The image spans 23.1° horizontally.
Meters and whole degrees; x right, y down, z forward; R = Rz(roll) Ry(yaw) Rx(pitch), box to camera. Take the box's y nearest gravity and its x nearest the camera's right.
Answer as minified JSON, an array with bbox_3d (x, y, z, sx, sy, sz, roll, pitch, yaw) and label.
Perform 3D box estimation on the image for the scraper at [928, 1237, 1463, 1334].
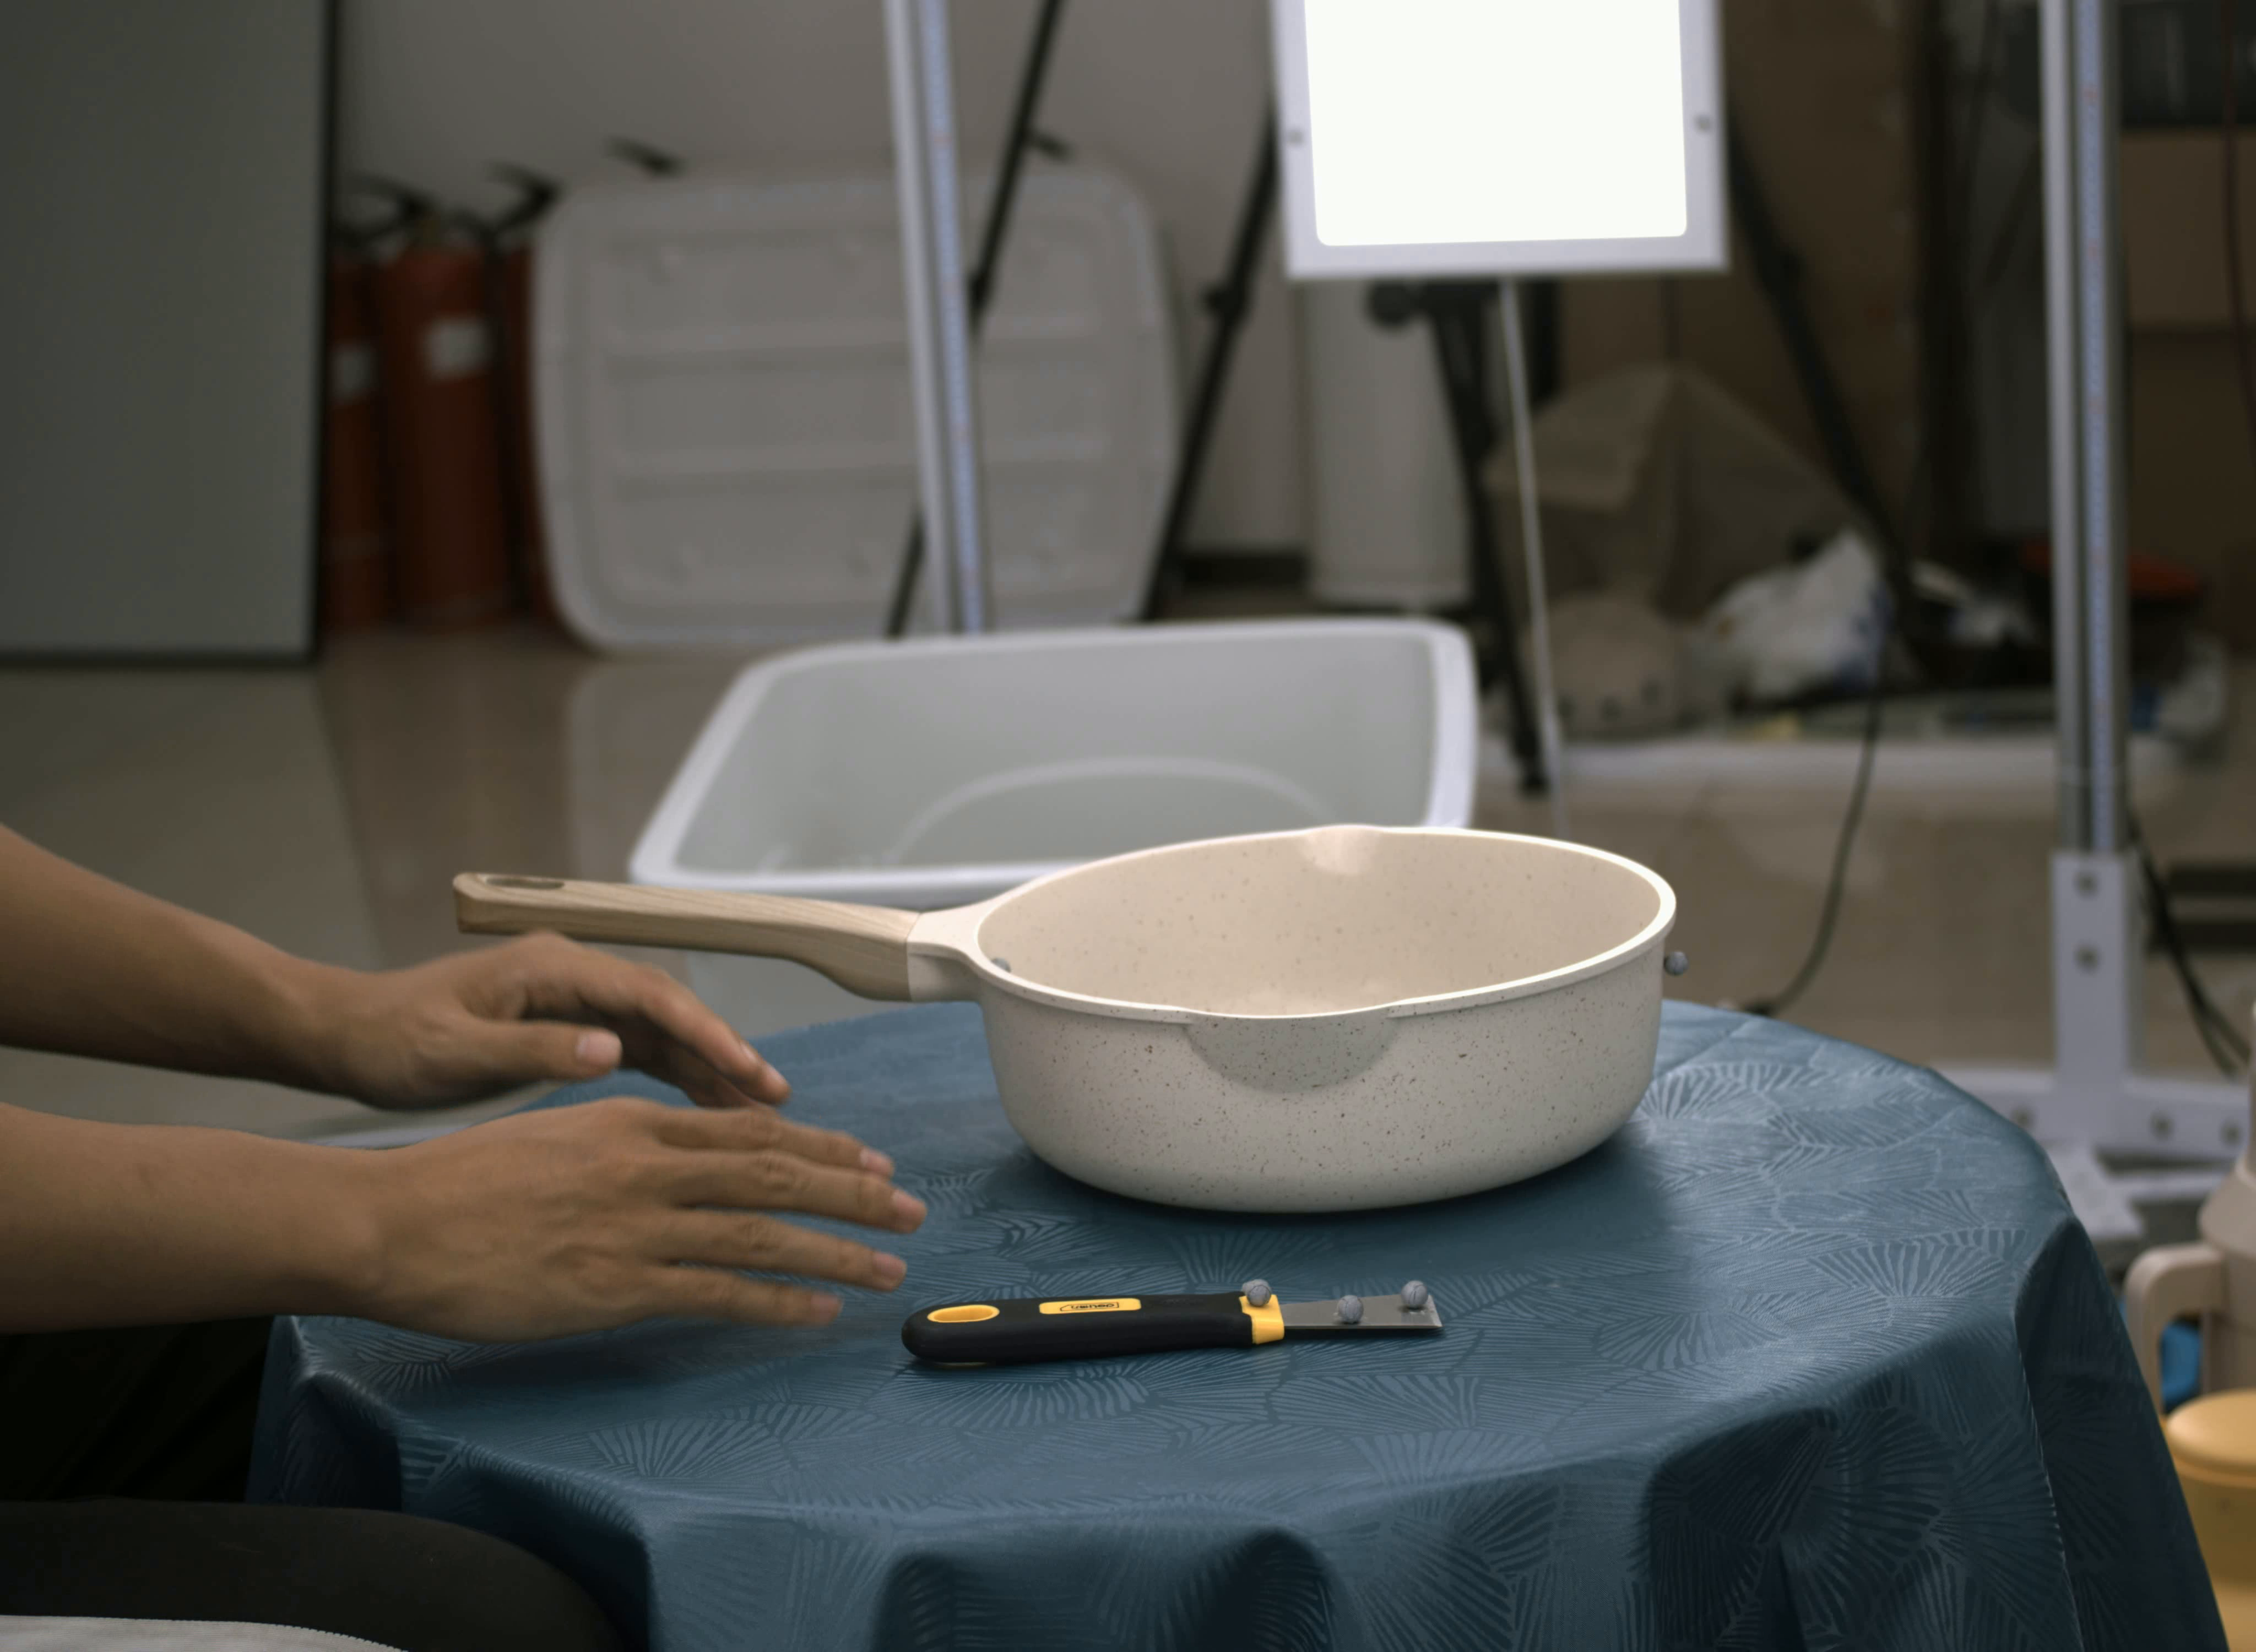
[{"bbox_3d":[0.021,0.146,1.750,0.170,0.015,0.039,-3,20,-3],"label":"scraper"}]

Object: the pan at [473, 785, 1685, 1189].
[{"bbox_3d":[-0.016,0.056,1.969,0.437,0.102,0.261,-3,16,9],"label":"pan"}]
